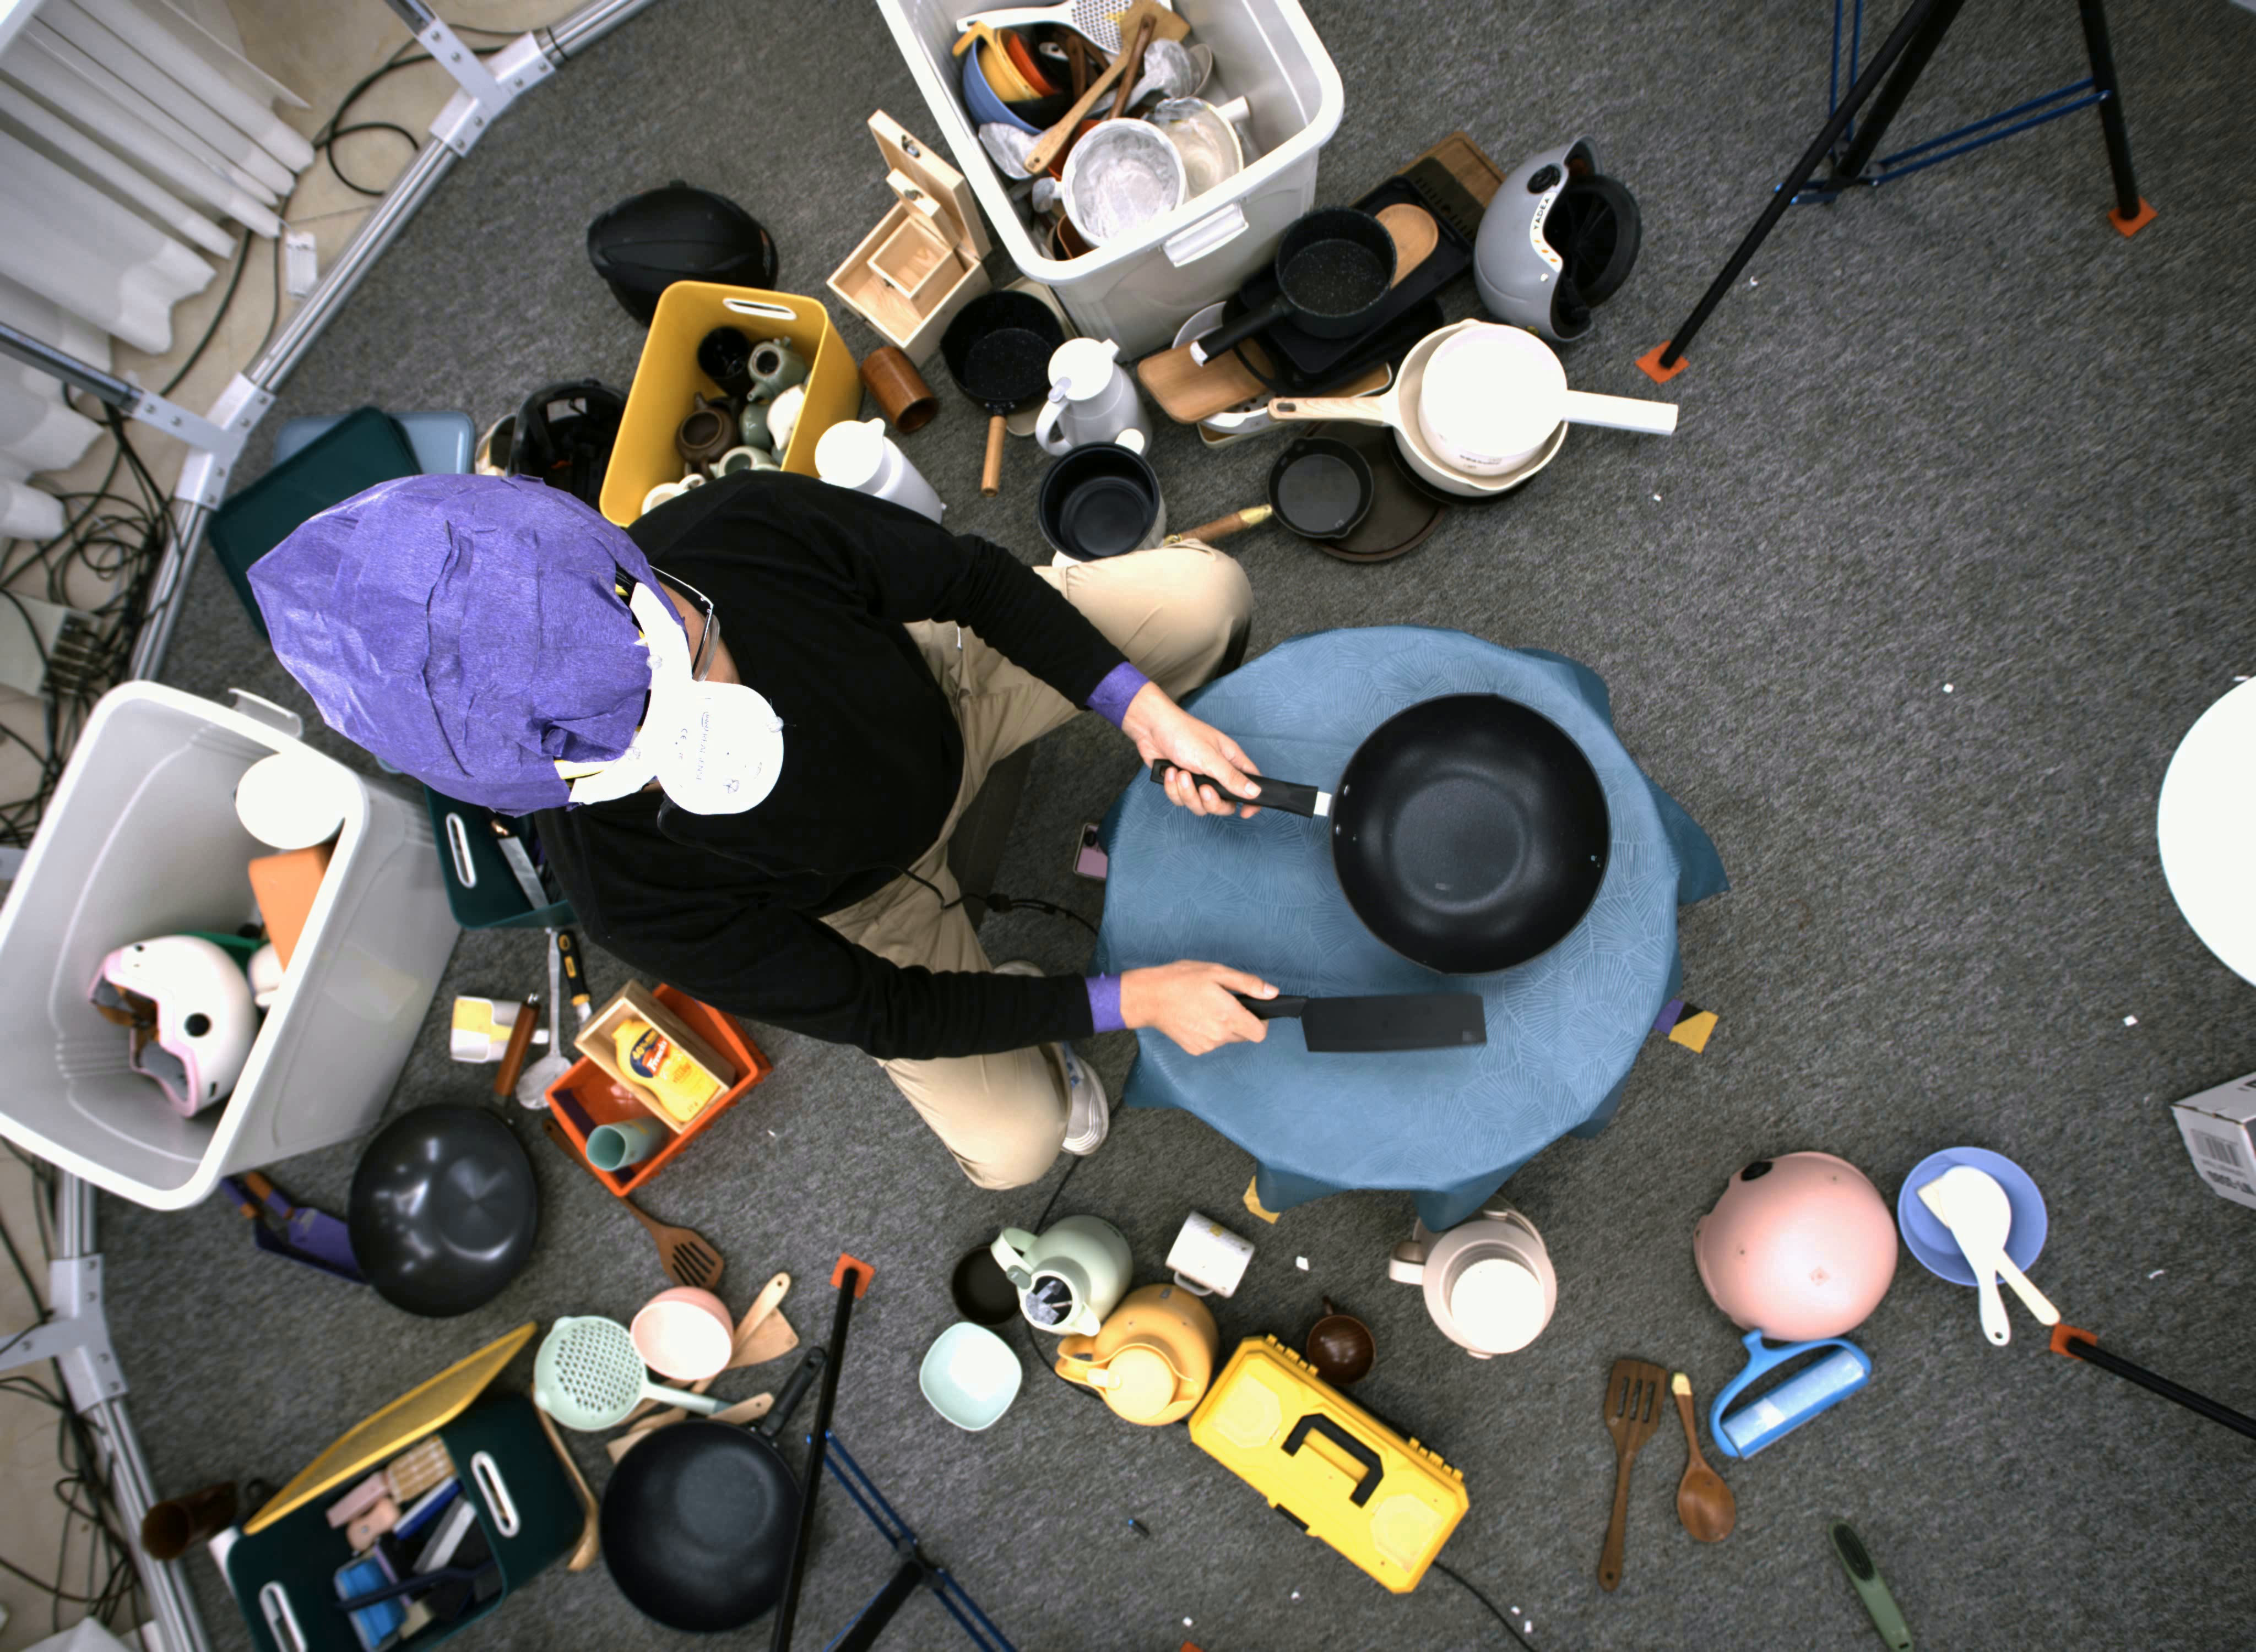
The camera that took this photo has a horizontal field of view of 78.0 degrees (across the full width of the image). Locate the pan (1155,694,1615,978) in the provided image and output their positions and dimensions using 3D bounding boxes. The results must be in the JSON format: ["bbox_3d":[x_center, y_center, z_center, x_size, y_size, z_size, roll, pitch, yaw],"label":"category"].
[{"bbox_3d":[0.256,-0.008,1.413,0.464,0.087,0.287,12,89,7],"label":"pan"}]

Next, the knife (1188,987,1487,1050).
[{"bbox_3d":[0.204,0.191,1.385,0.304,0.020,0.082,-1,119,20],"label":"knife"}]
